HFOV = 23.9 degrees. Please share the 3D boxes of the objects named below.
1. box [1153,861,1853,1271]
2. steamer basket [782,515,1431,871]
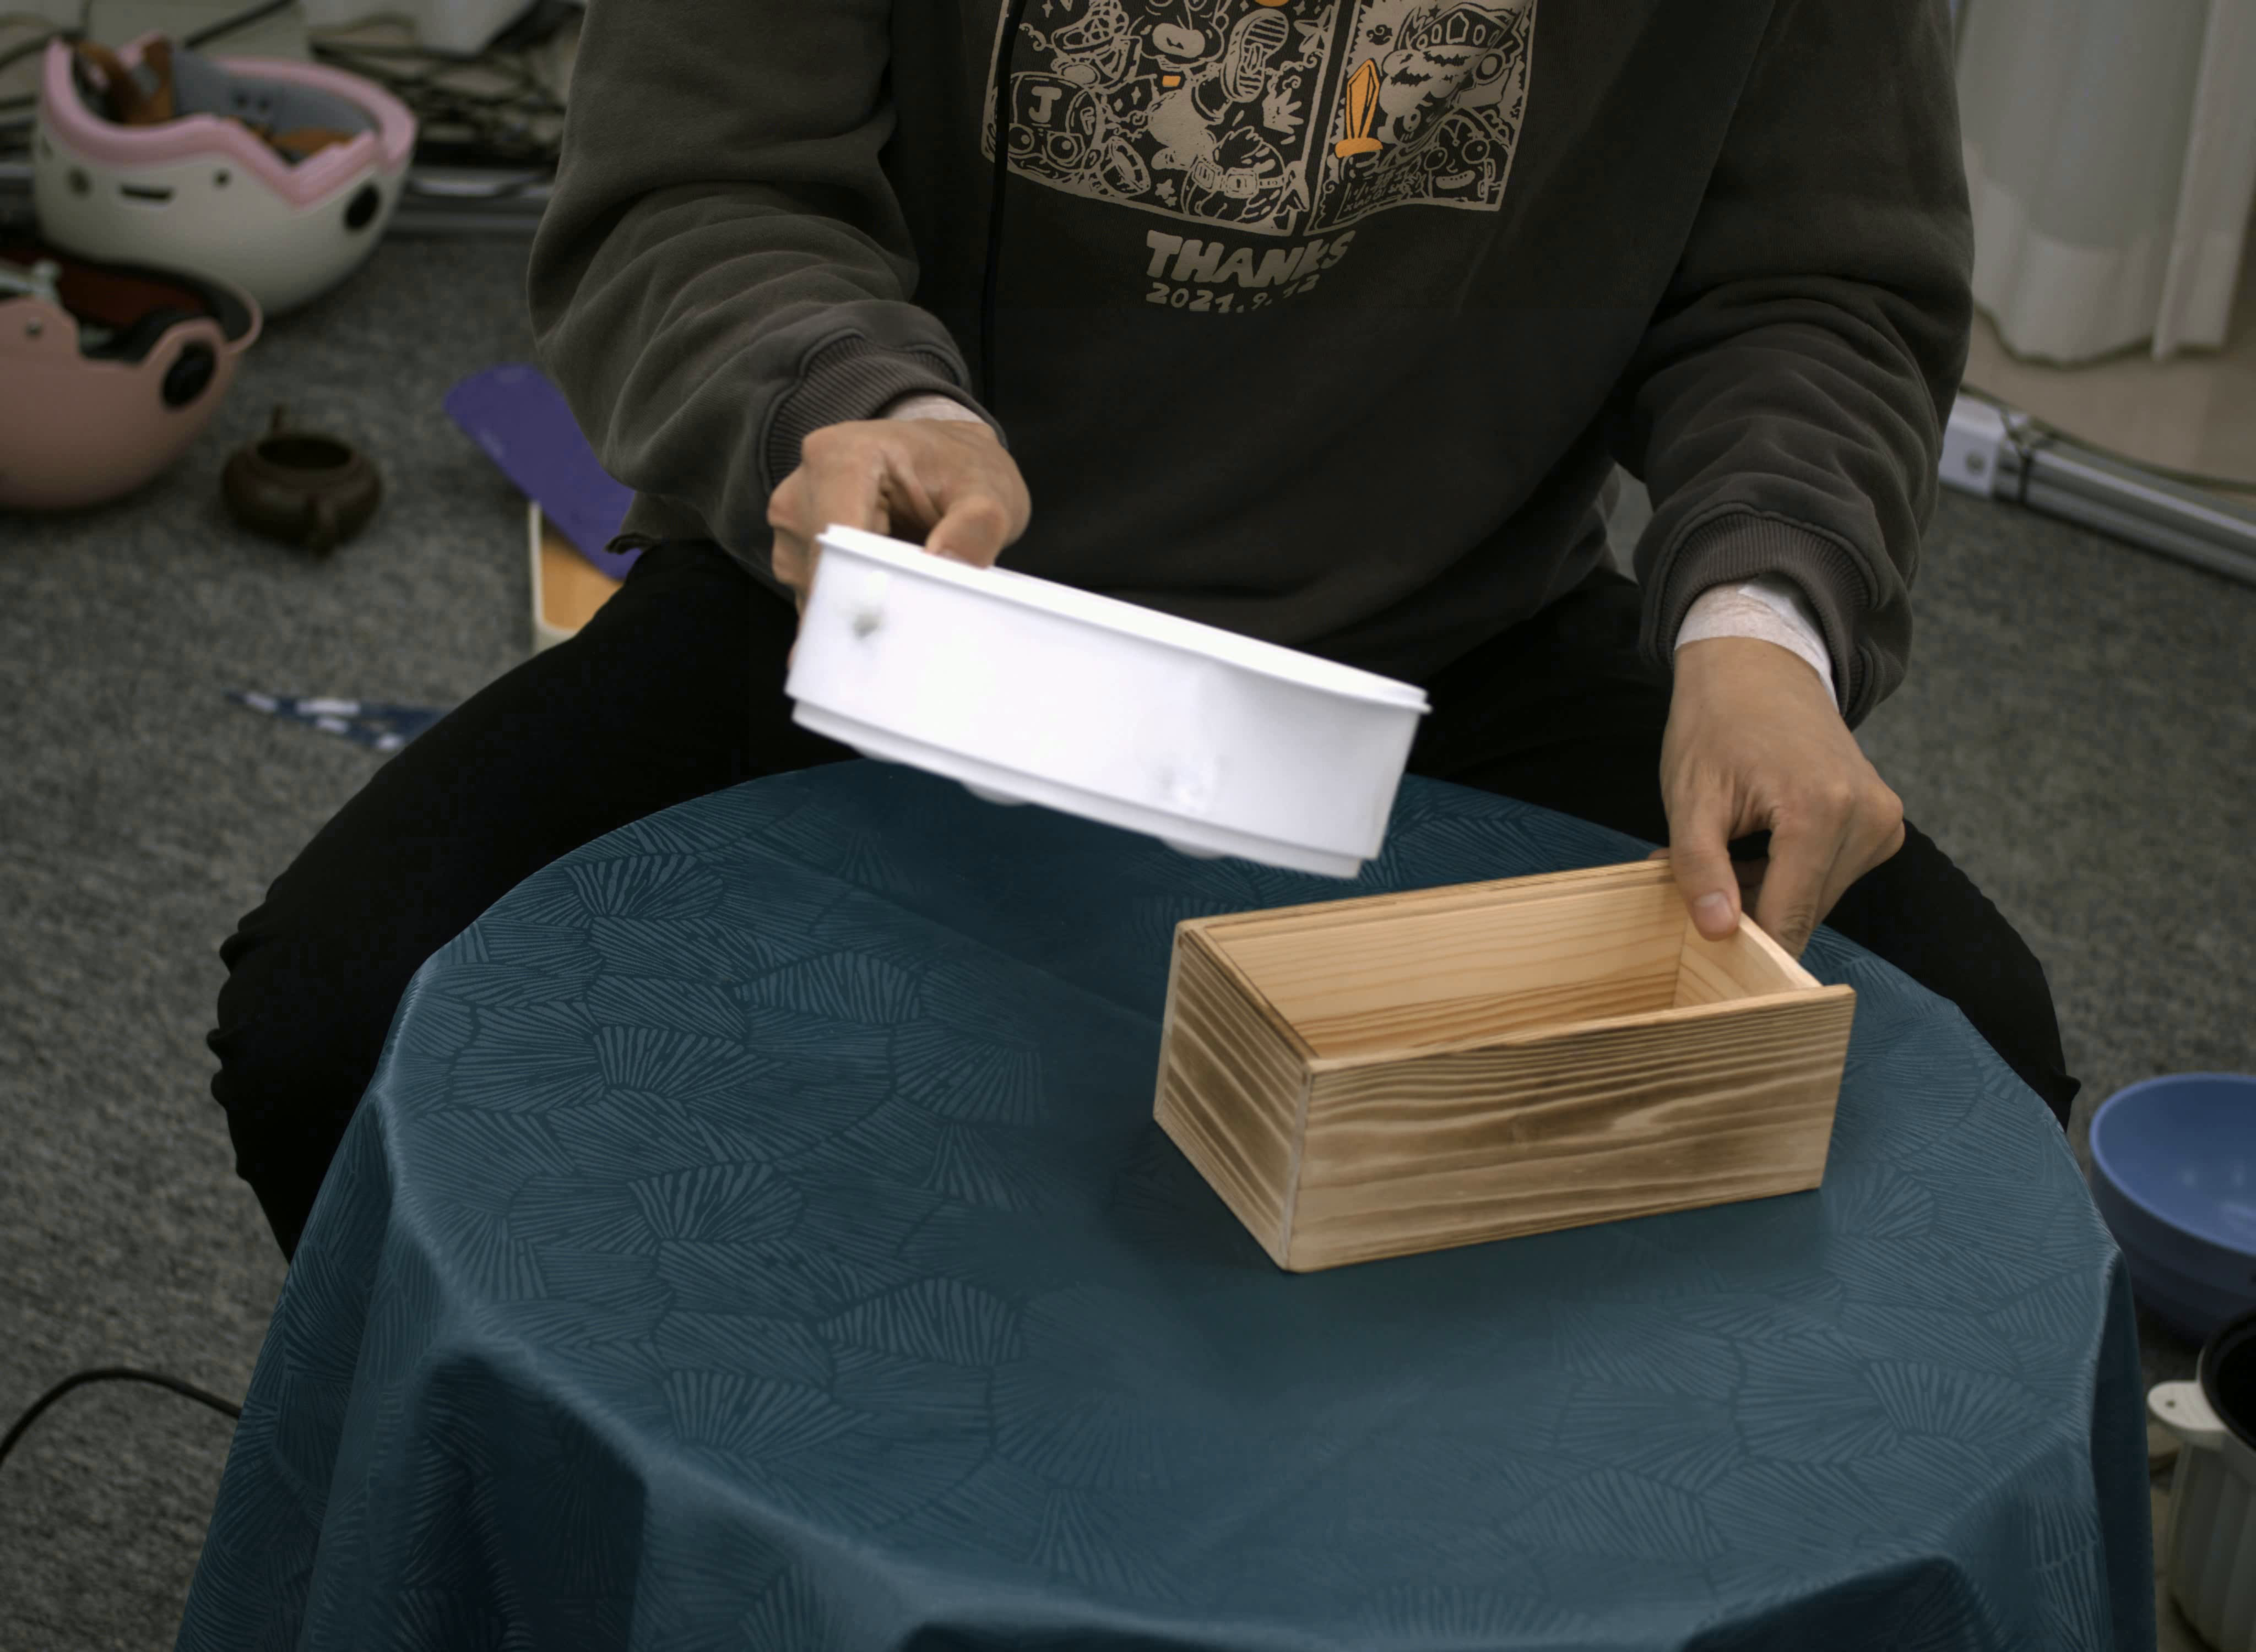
[{"bbox_3d":[0.128,0.080,1.831,0.210,0.080,0.108,-7,28,-24],"label":"box"},{"bbox_3d":[-0.009,-0.039,1.664,0.200,0.069,0.232,14,2,-37],"label":"steamer basket"}]
